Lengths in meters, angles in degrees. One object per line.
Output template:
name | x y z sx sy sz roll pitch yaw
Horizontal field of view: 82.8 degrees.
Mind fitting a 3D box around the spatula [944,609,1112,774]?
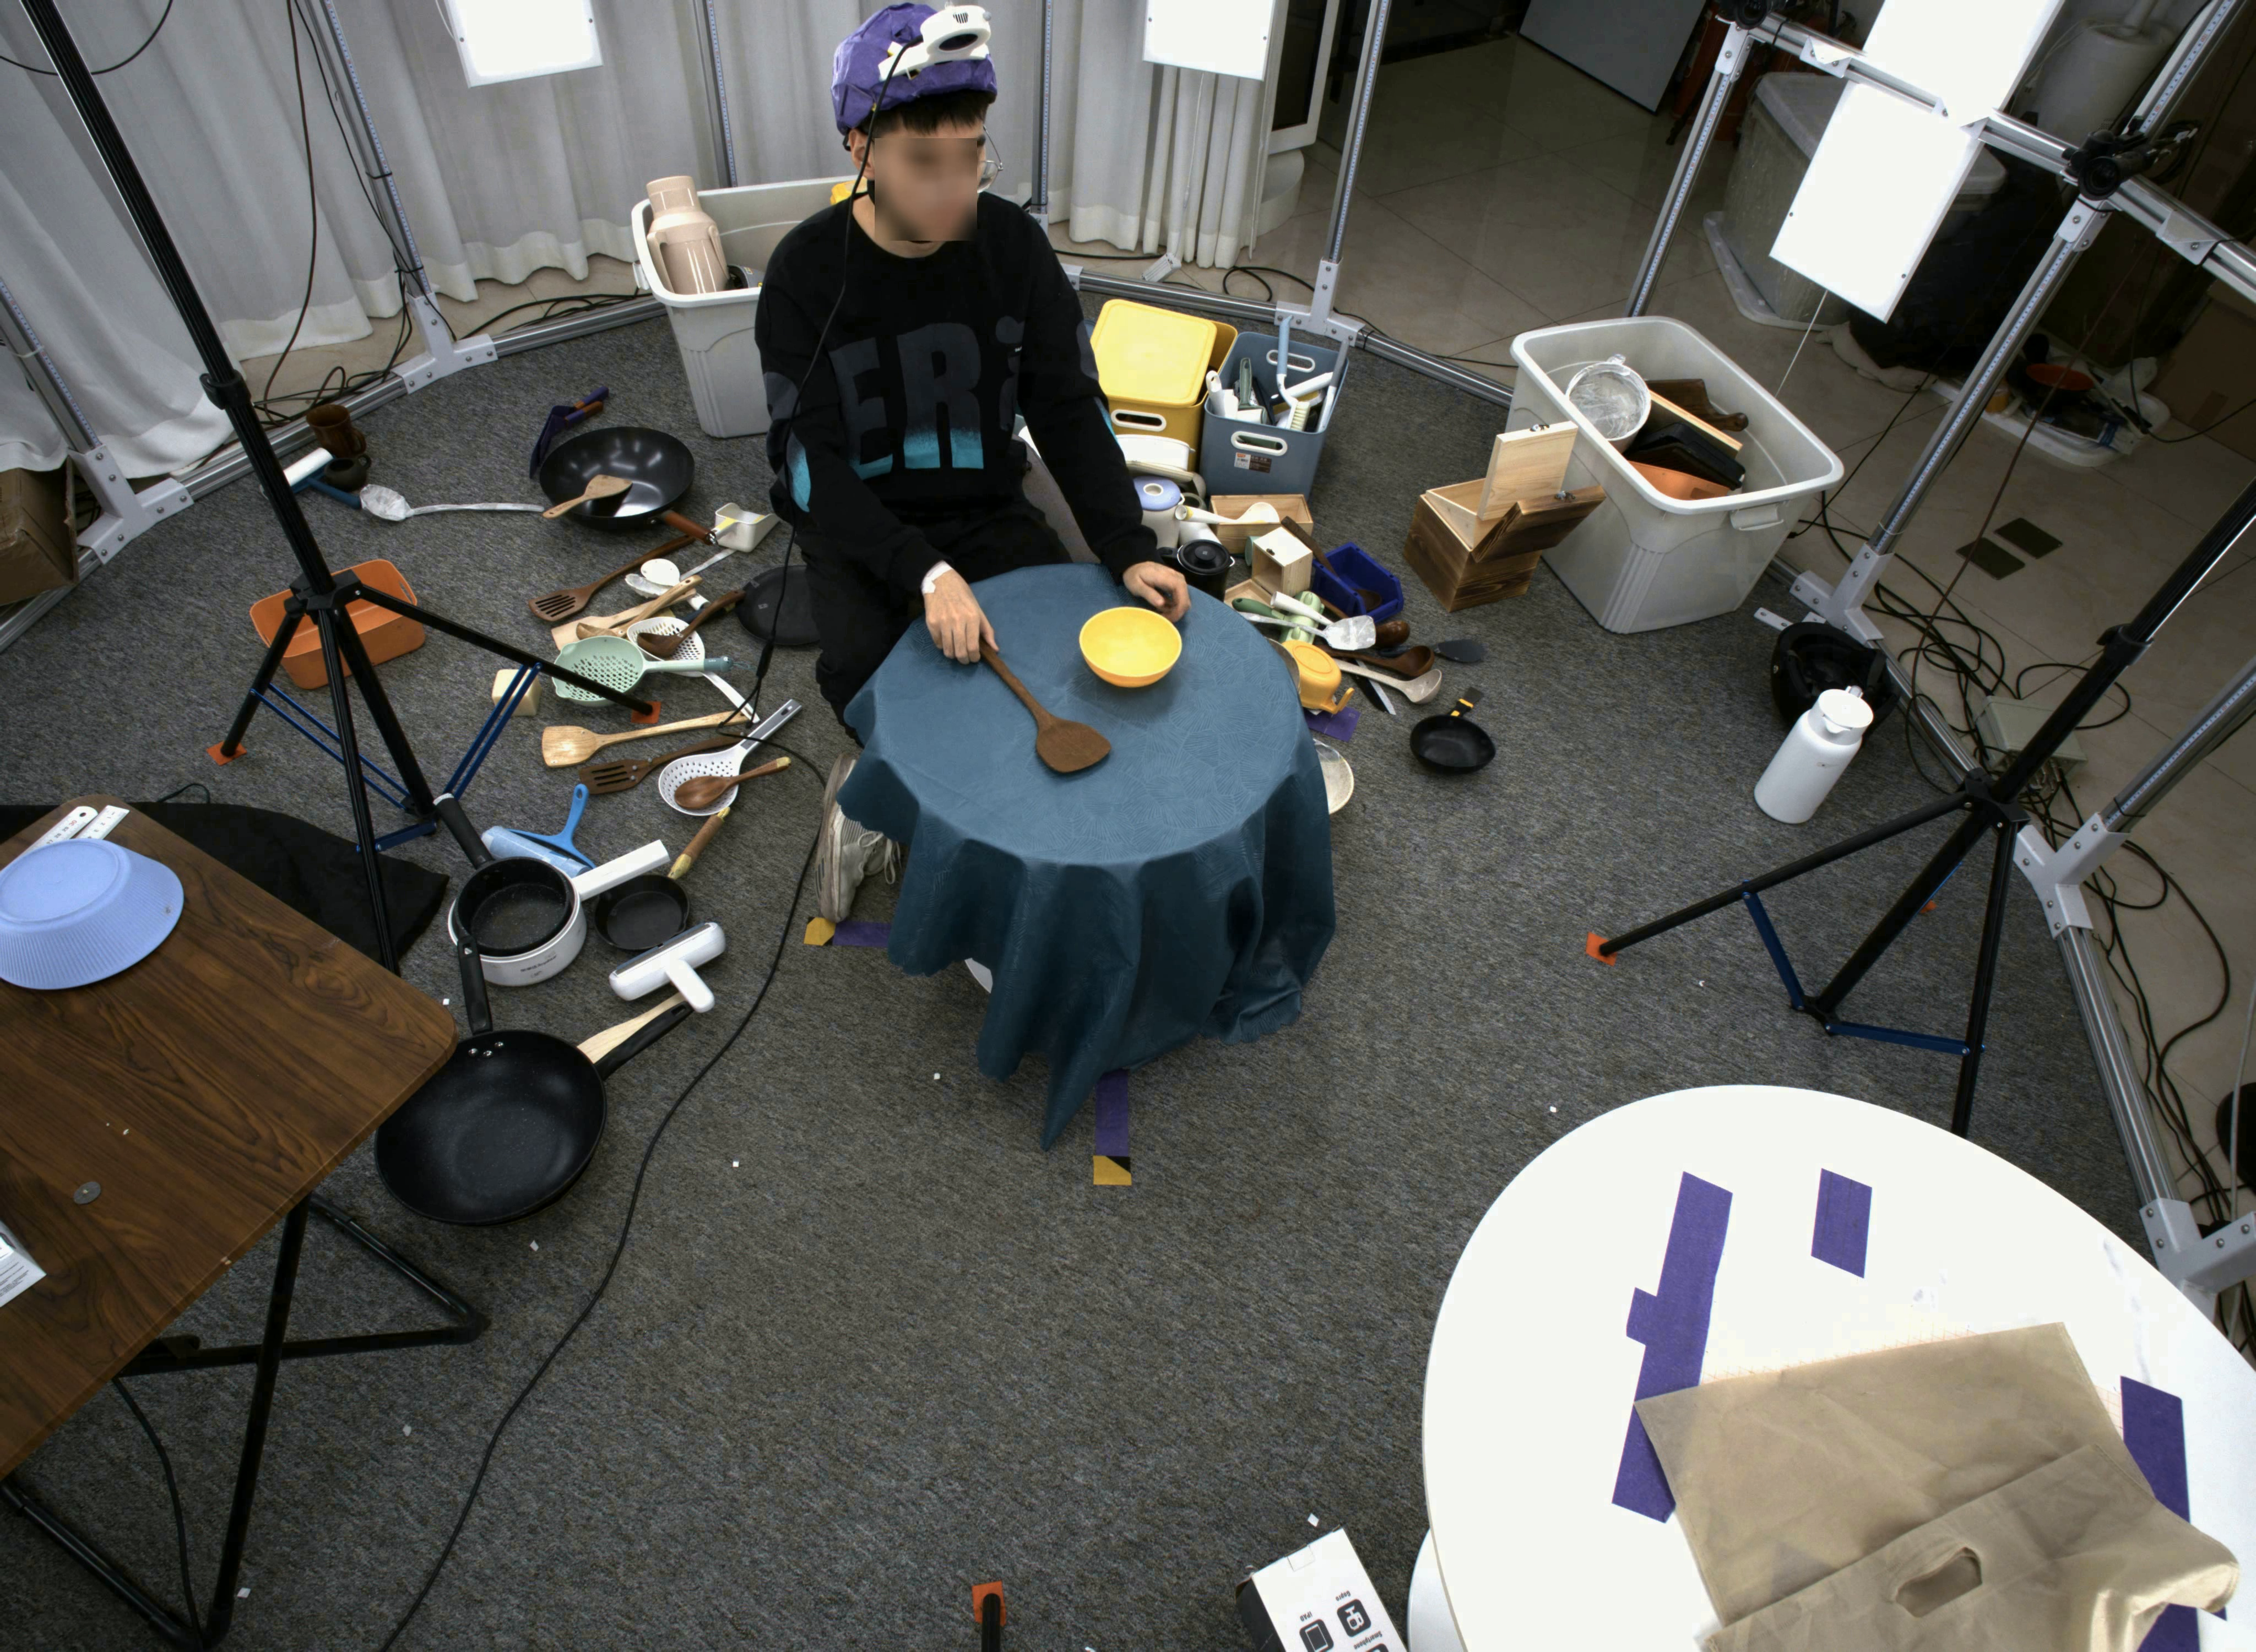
spatula | -0.161 -0.203 1.842 0.096 0.015 0.393 -25 55 -24

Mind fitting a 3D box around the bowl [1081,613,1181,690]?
bowl | 0.001 -0.241 1.860 0.145 0.058 0.149 3 46 -4
